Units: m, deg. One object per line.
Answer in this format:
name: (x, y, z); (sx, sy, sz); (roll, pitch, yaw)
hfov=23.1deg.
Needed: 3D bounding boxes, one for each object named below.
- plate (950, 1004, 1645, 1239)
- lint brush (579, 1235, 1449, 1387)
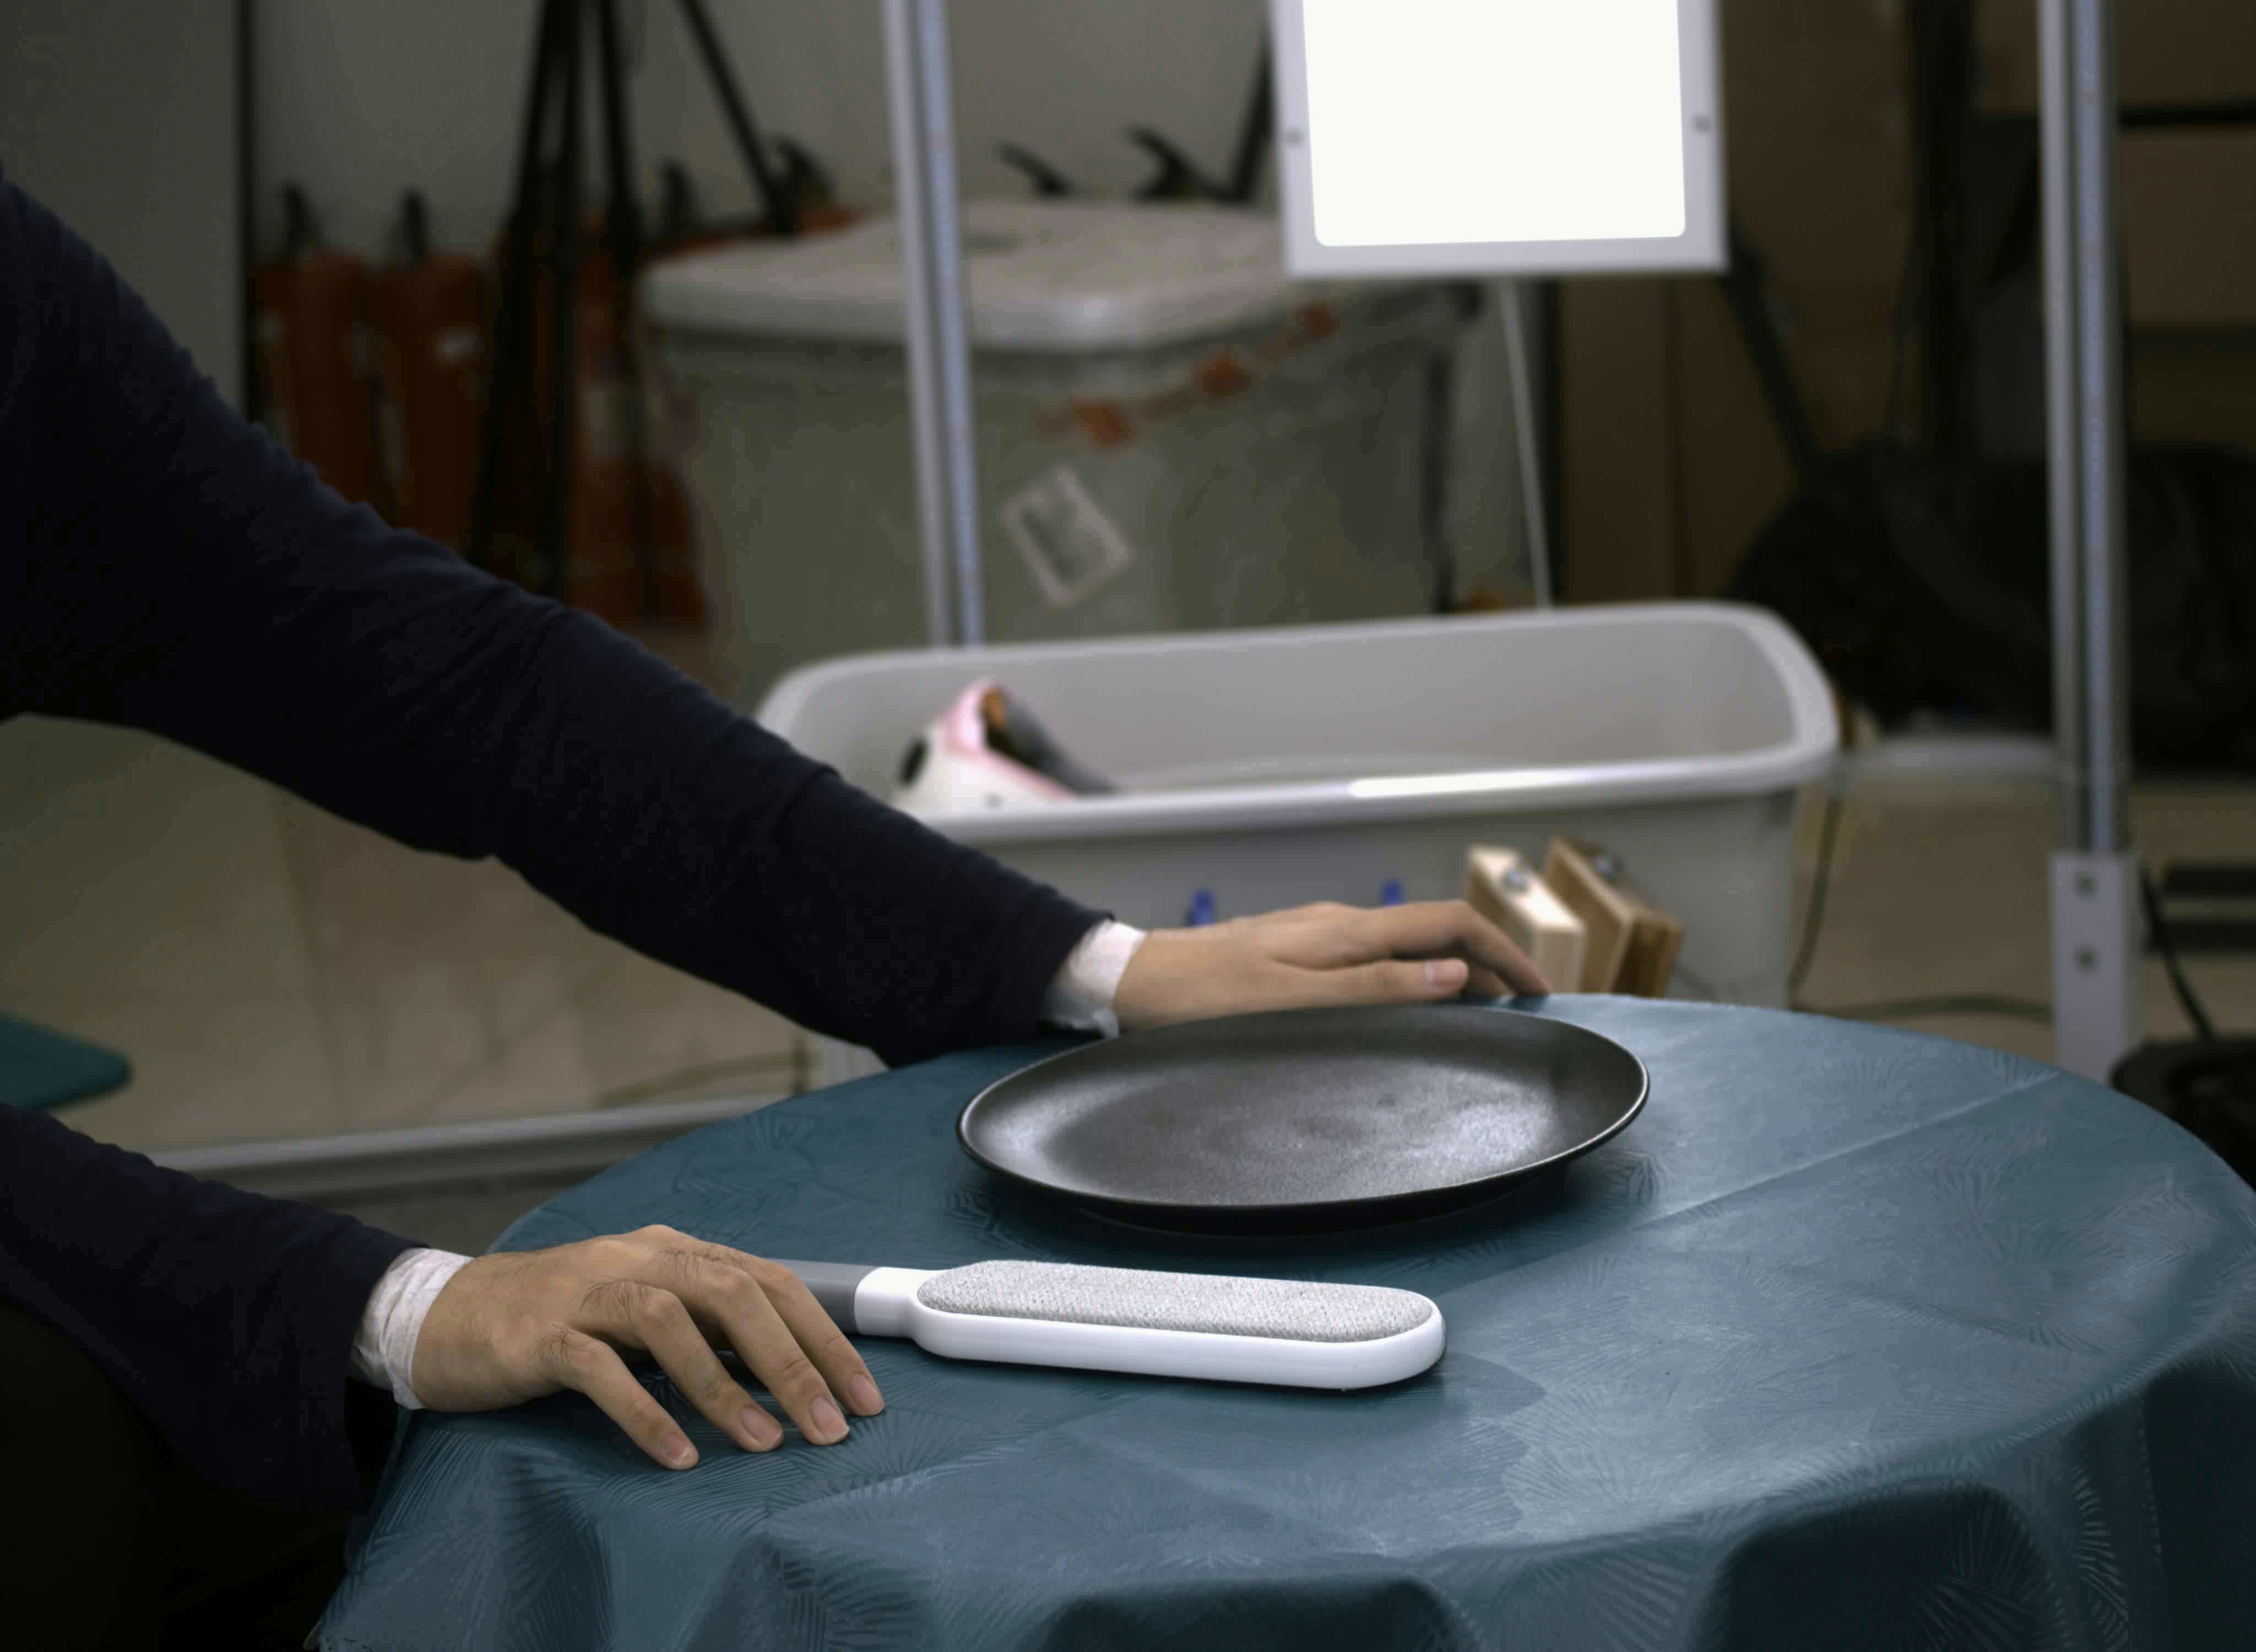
plate: (0.060, 0.105, 1.919); (0.244, 0.023, 0.244); (-5, 13, 0)
lint brush: (-0.042, 0.151, 1.761); (0.314, 0.021, 0.059); (2, 21, 28)
